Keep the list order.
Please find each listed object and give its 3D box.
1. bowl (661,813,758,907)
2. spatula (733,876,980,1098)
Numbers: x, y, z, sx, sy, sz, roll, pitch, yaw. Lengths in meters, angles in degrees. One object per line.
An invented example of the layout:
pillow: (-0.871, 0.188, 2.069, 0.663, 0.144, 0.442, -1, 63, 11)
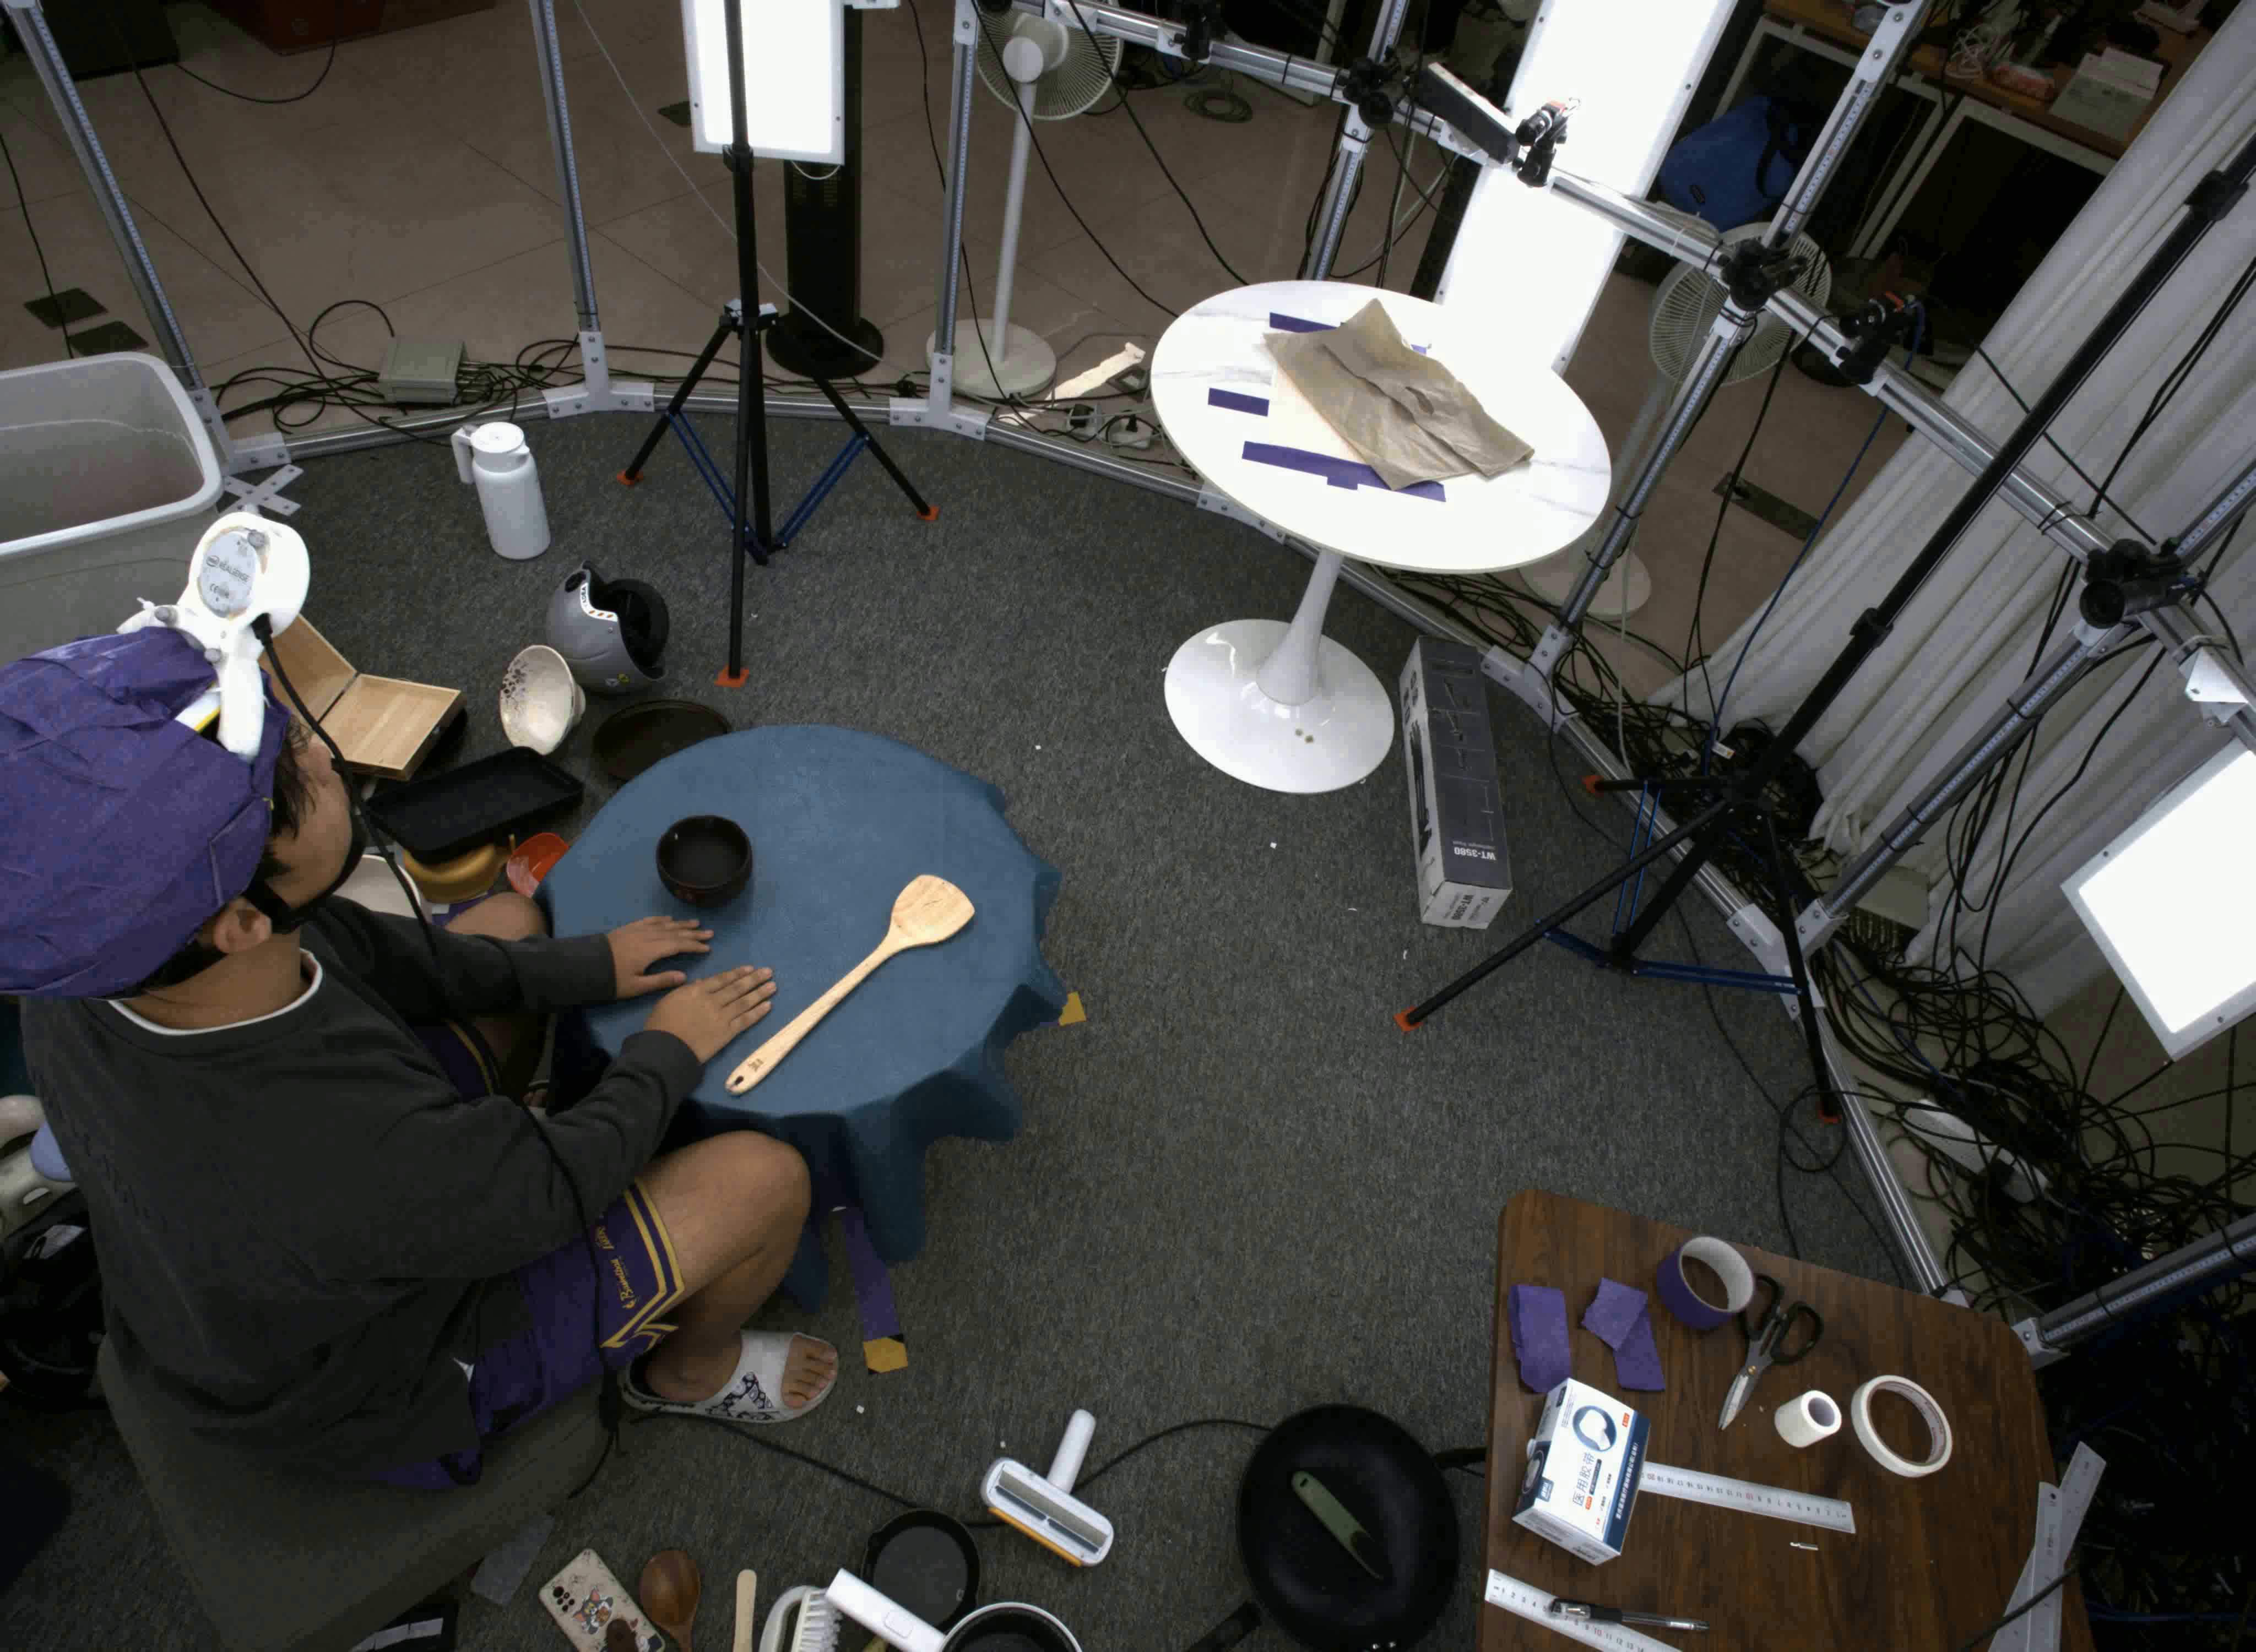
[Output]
bowl: (-0.524, 0.049, 1.621, 0.117, 0.071, 0.116, 6, 54, -7)
spatula: (-0.333, 0.195, 1.595, 0.094, 0.019, 0.390, 35, 53, 15)
